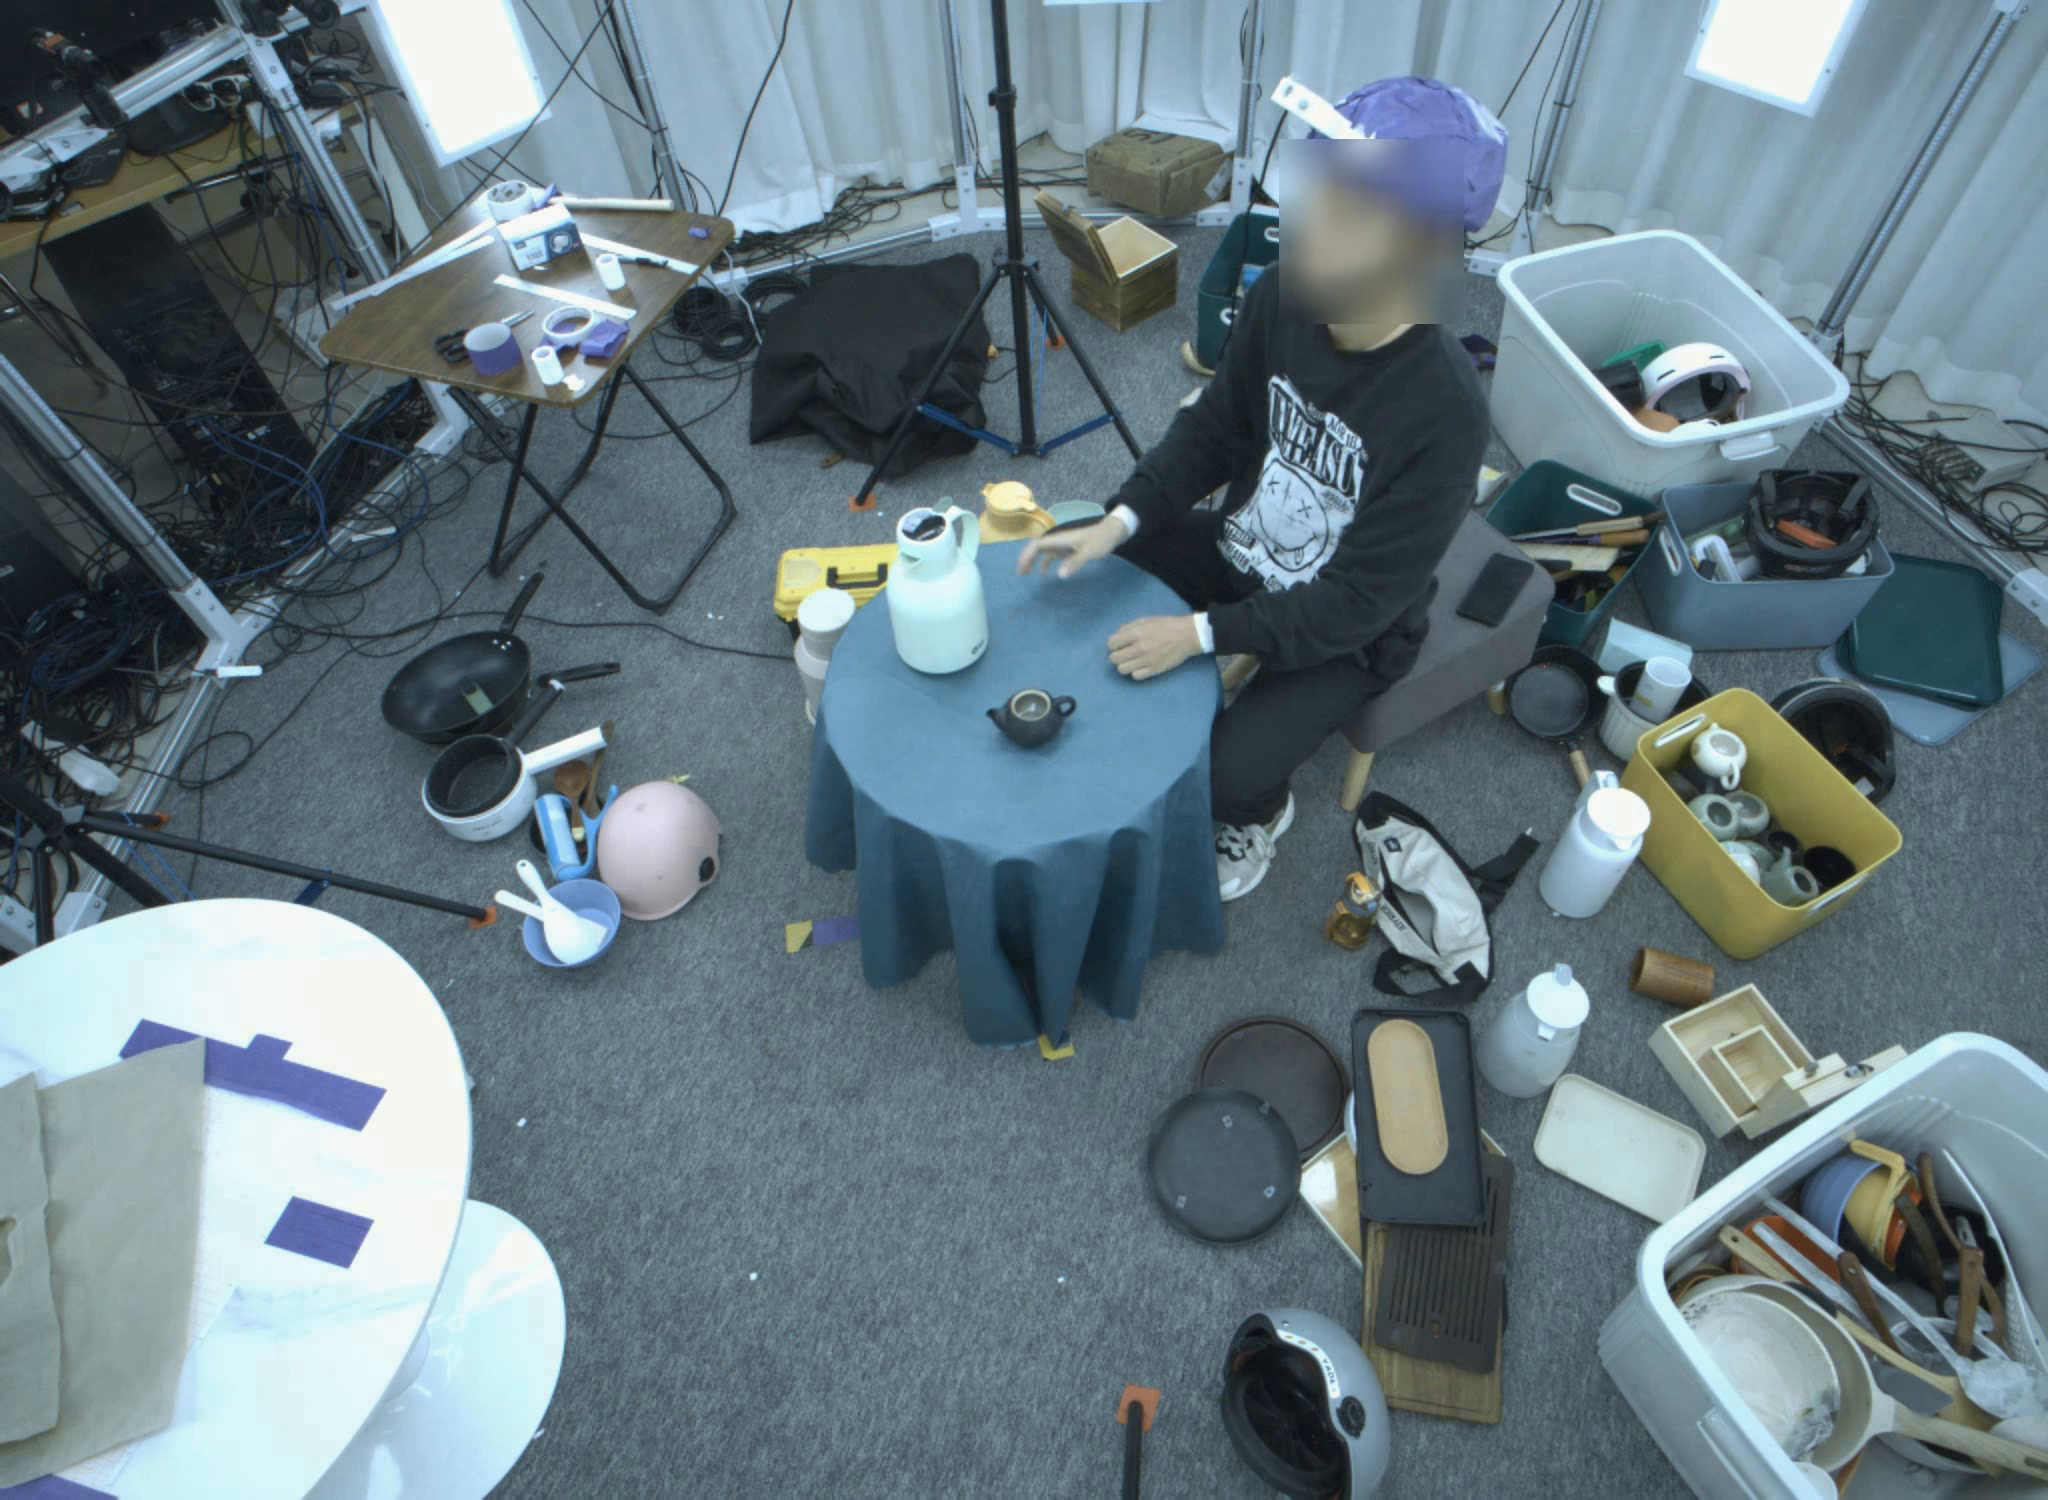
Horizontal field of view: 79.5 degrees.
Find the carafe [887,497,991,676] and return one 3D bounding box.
[{"bbox_3d":[-0.125,-0.248,1.810,0.142,0.260,0.187,23,55,21],"label":"carafe"}]

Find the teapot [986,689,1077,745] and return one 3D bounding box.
[{"bbox_3d":[0.012,-0.050,1.785,0.134,0.053,0.089,-11,56,-5],"label":"teapot"}]
